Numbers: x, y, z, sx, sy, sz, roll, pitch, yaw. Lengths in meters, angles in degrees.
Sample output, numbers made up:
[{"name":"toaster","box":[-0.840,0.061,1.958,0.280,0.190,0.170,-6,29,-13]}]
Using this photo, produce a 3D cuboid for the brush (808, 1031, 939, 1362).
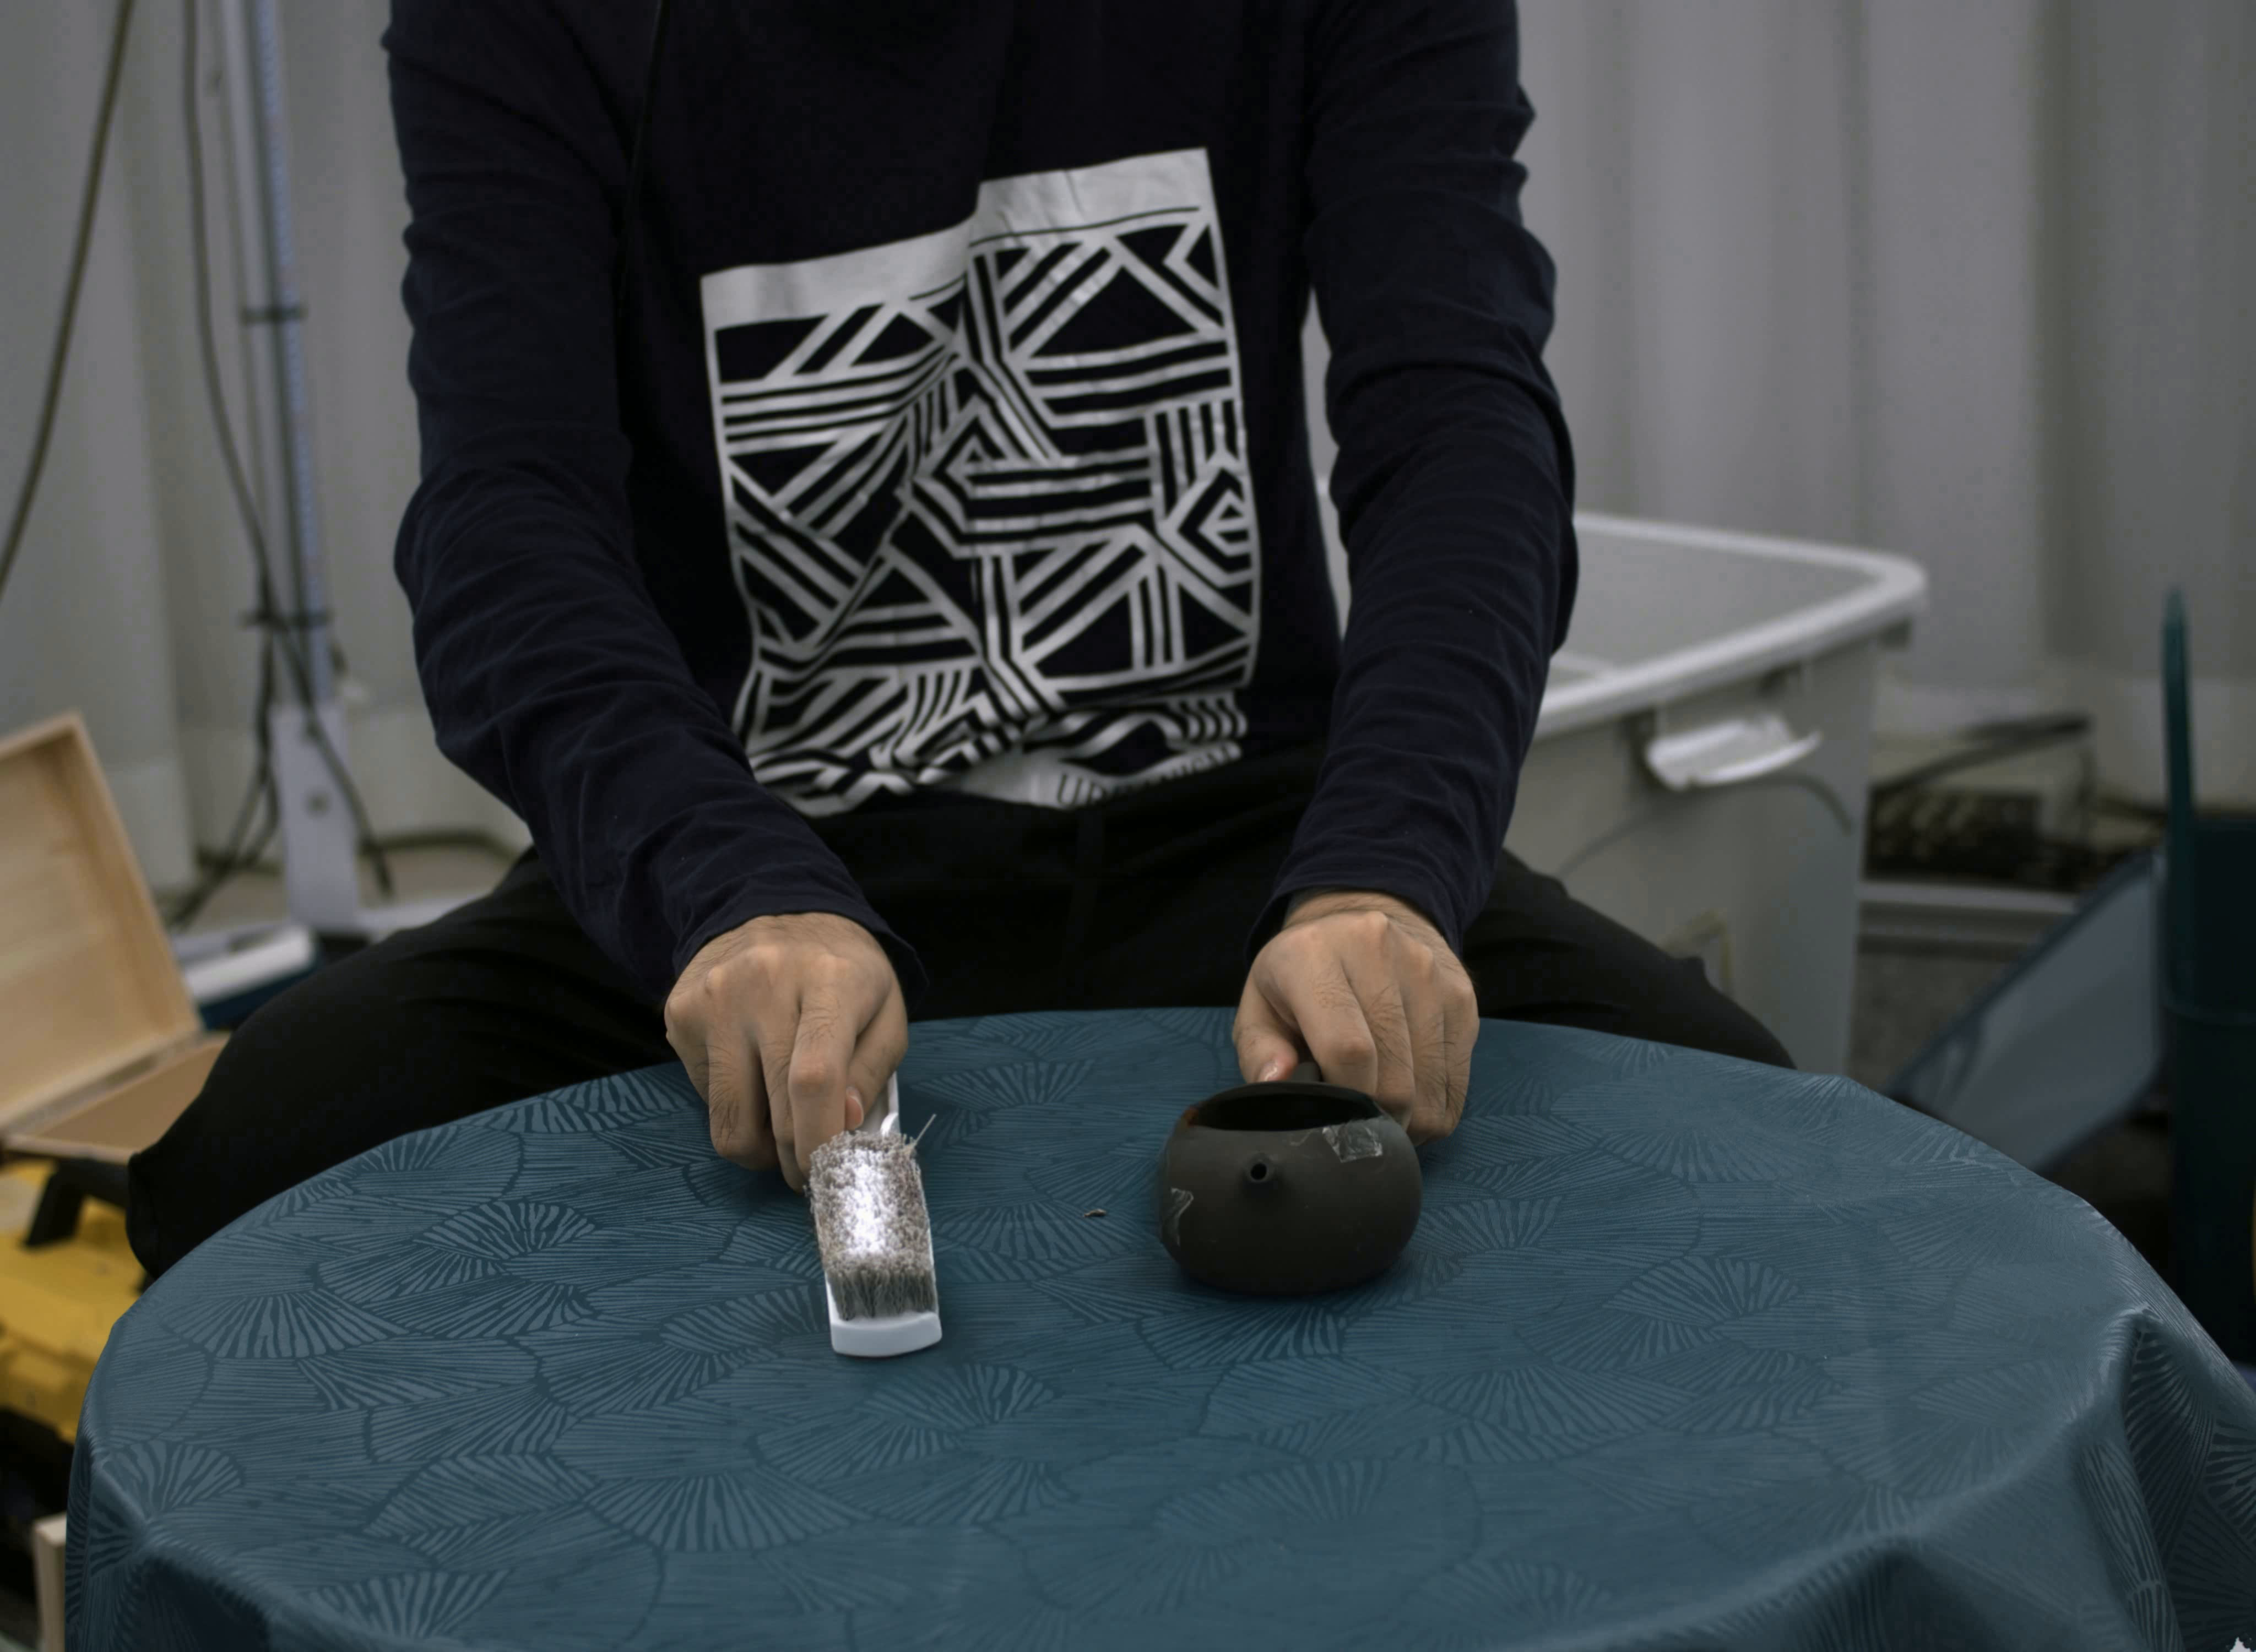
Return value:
[{"name":"brush","box":[-0.077,0.094,1.678,0.034,0.050,0.246,-7,20,1]}]

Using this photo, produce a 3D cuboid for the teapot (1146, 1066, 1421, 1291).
[{"name":"teapot","box":[0.049,0.104,1.648,0.083,0.053,0.114,0,15,12]}]
